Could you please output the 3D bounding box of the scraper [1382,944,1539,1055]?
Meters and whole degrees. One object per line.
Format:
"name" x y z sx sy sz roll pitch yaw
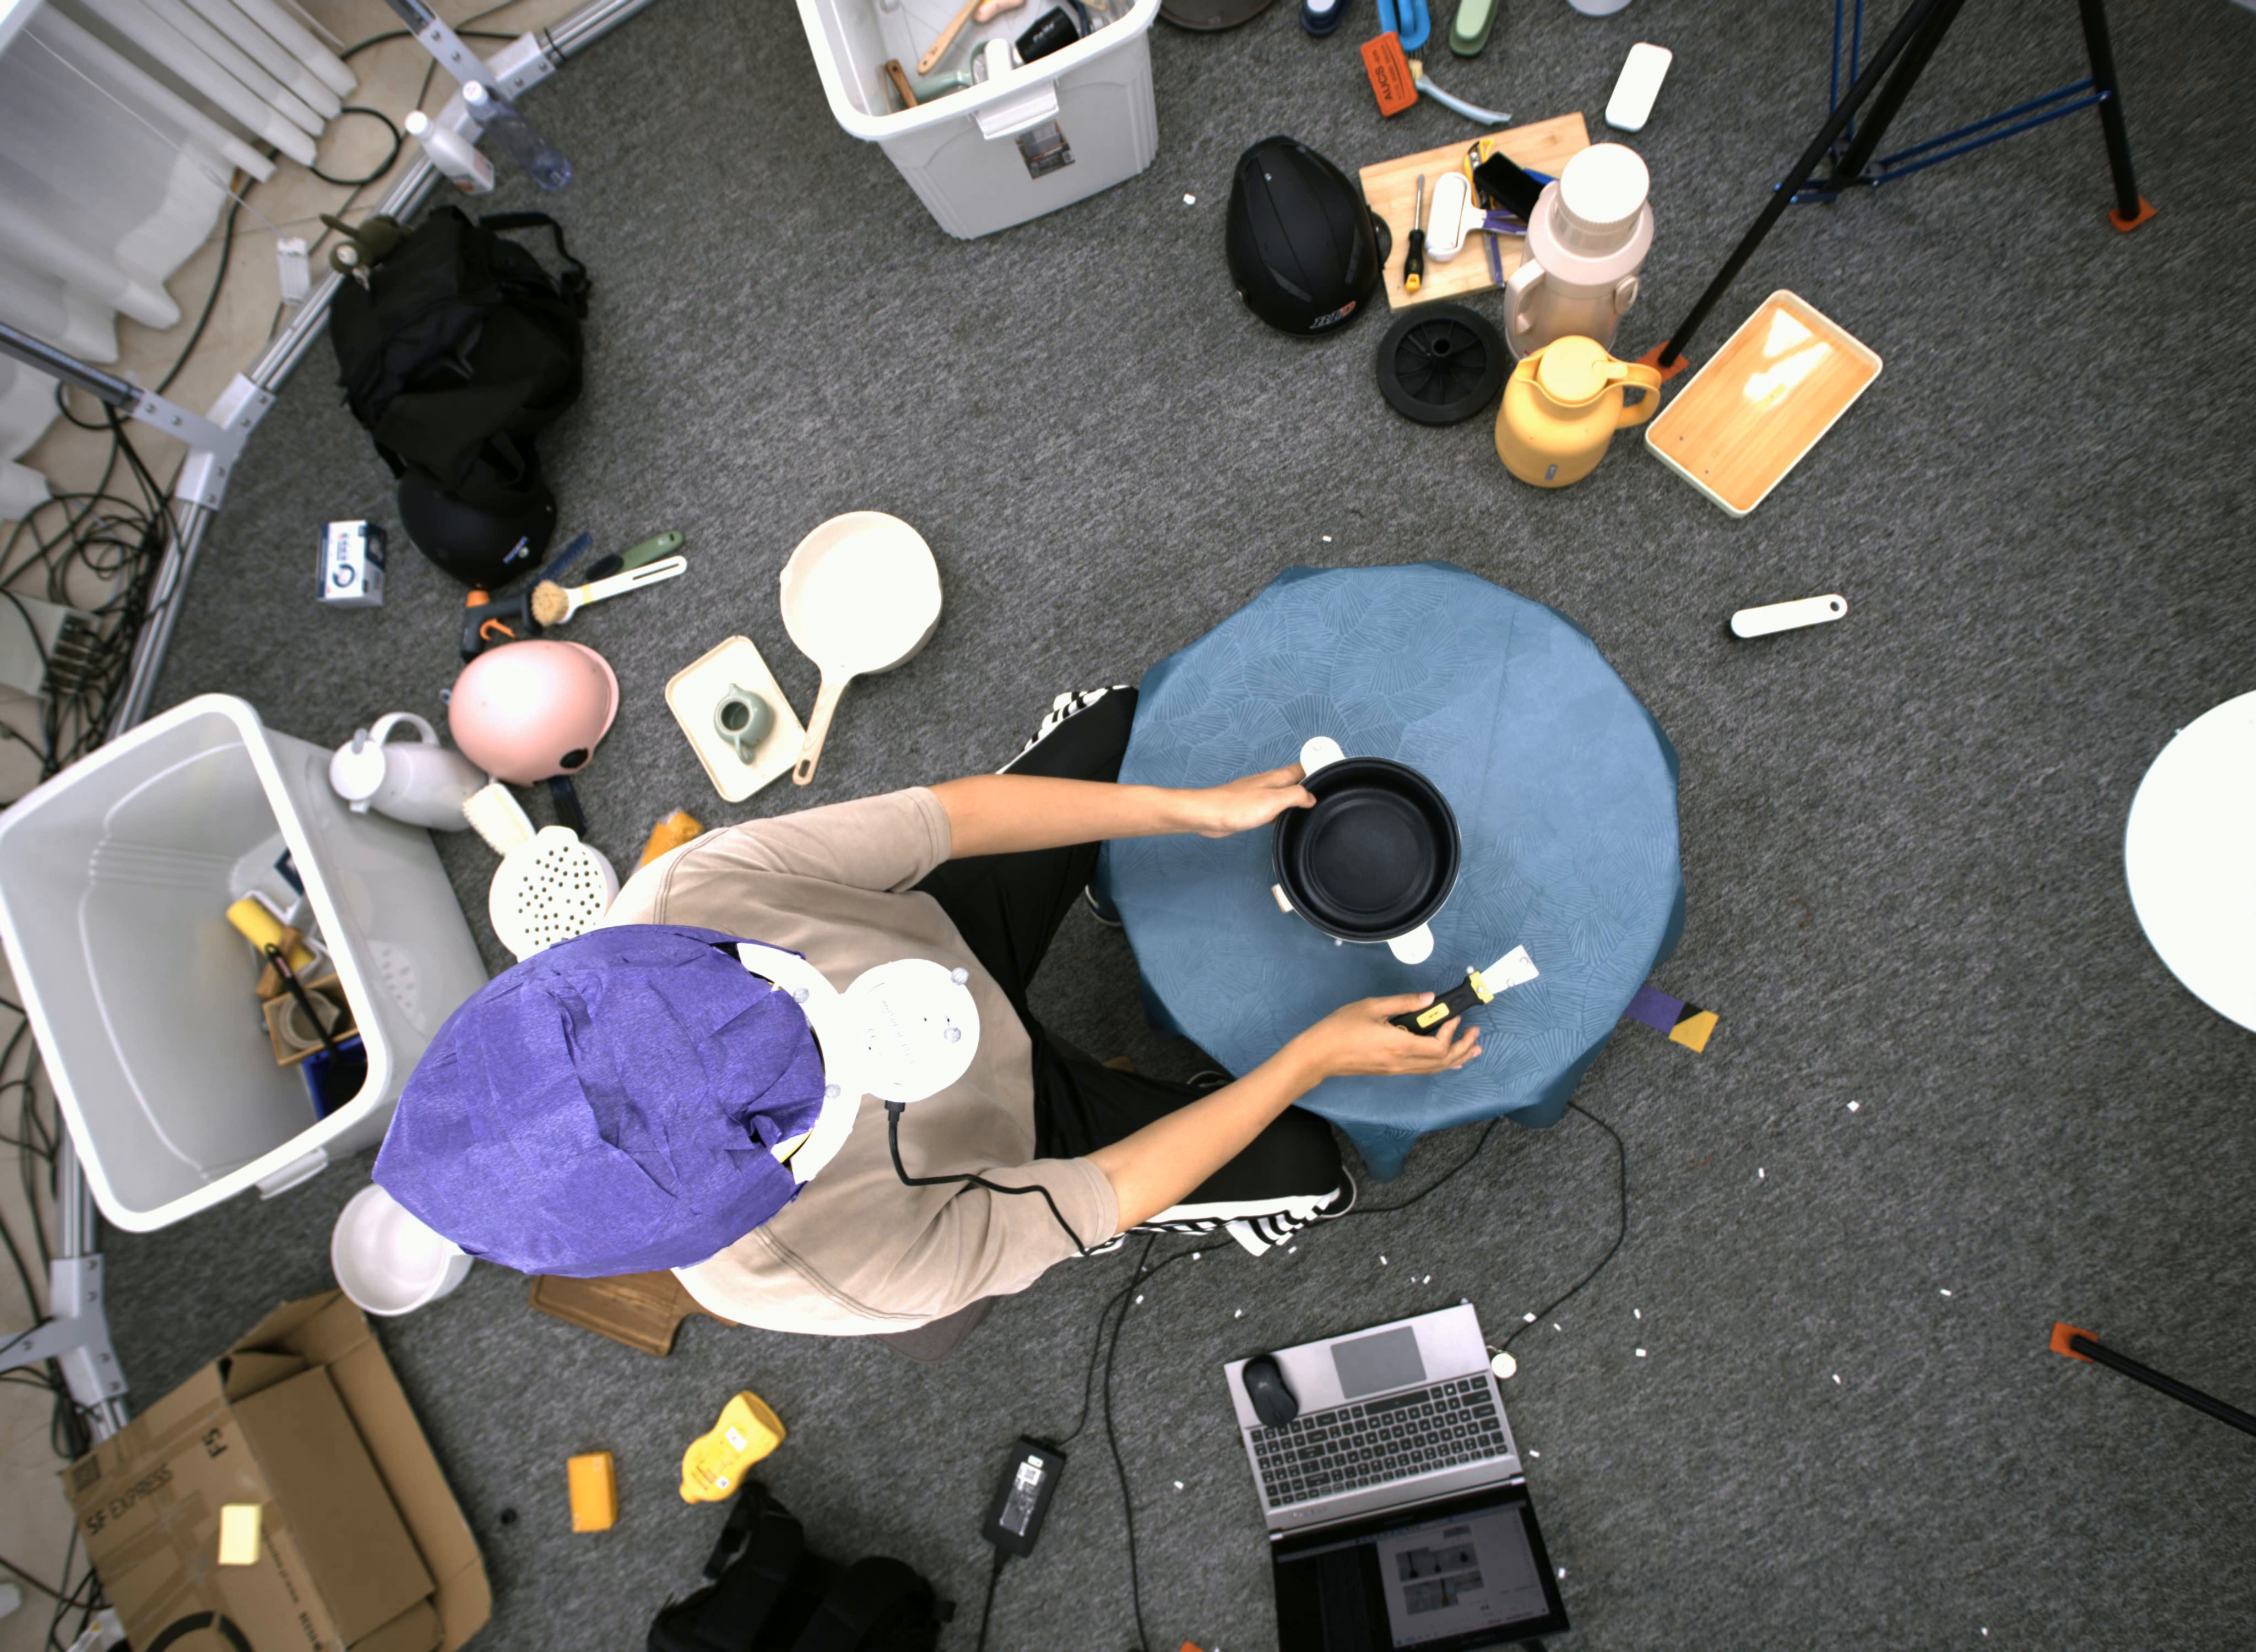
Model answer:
"scraper" 0.328 0.175 1.371 0.172 0.015 0.039 -34 92 13

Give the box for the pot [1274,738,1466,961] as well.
"pot" 0.238 0.032 1.399 0.191 0.143 0.238 -26 80 4
